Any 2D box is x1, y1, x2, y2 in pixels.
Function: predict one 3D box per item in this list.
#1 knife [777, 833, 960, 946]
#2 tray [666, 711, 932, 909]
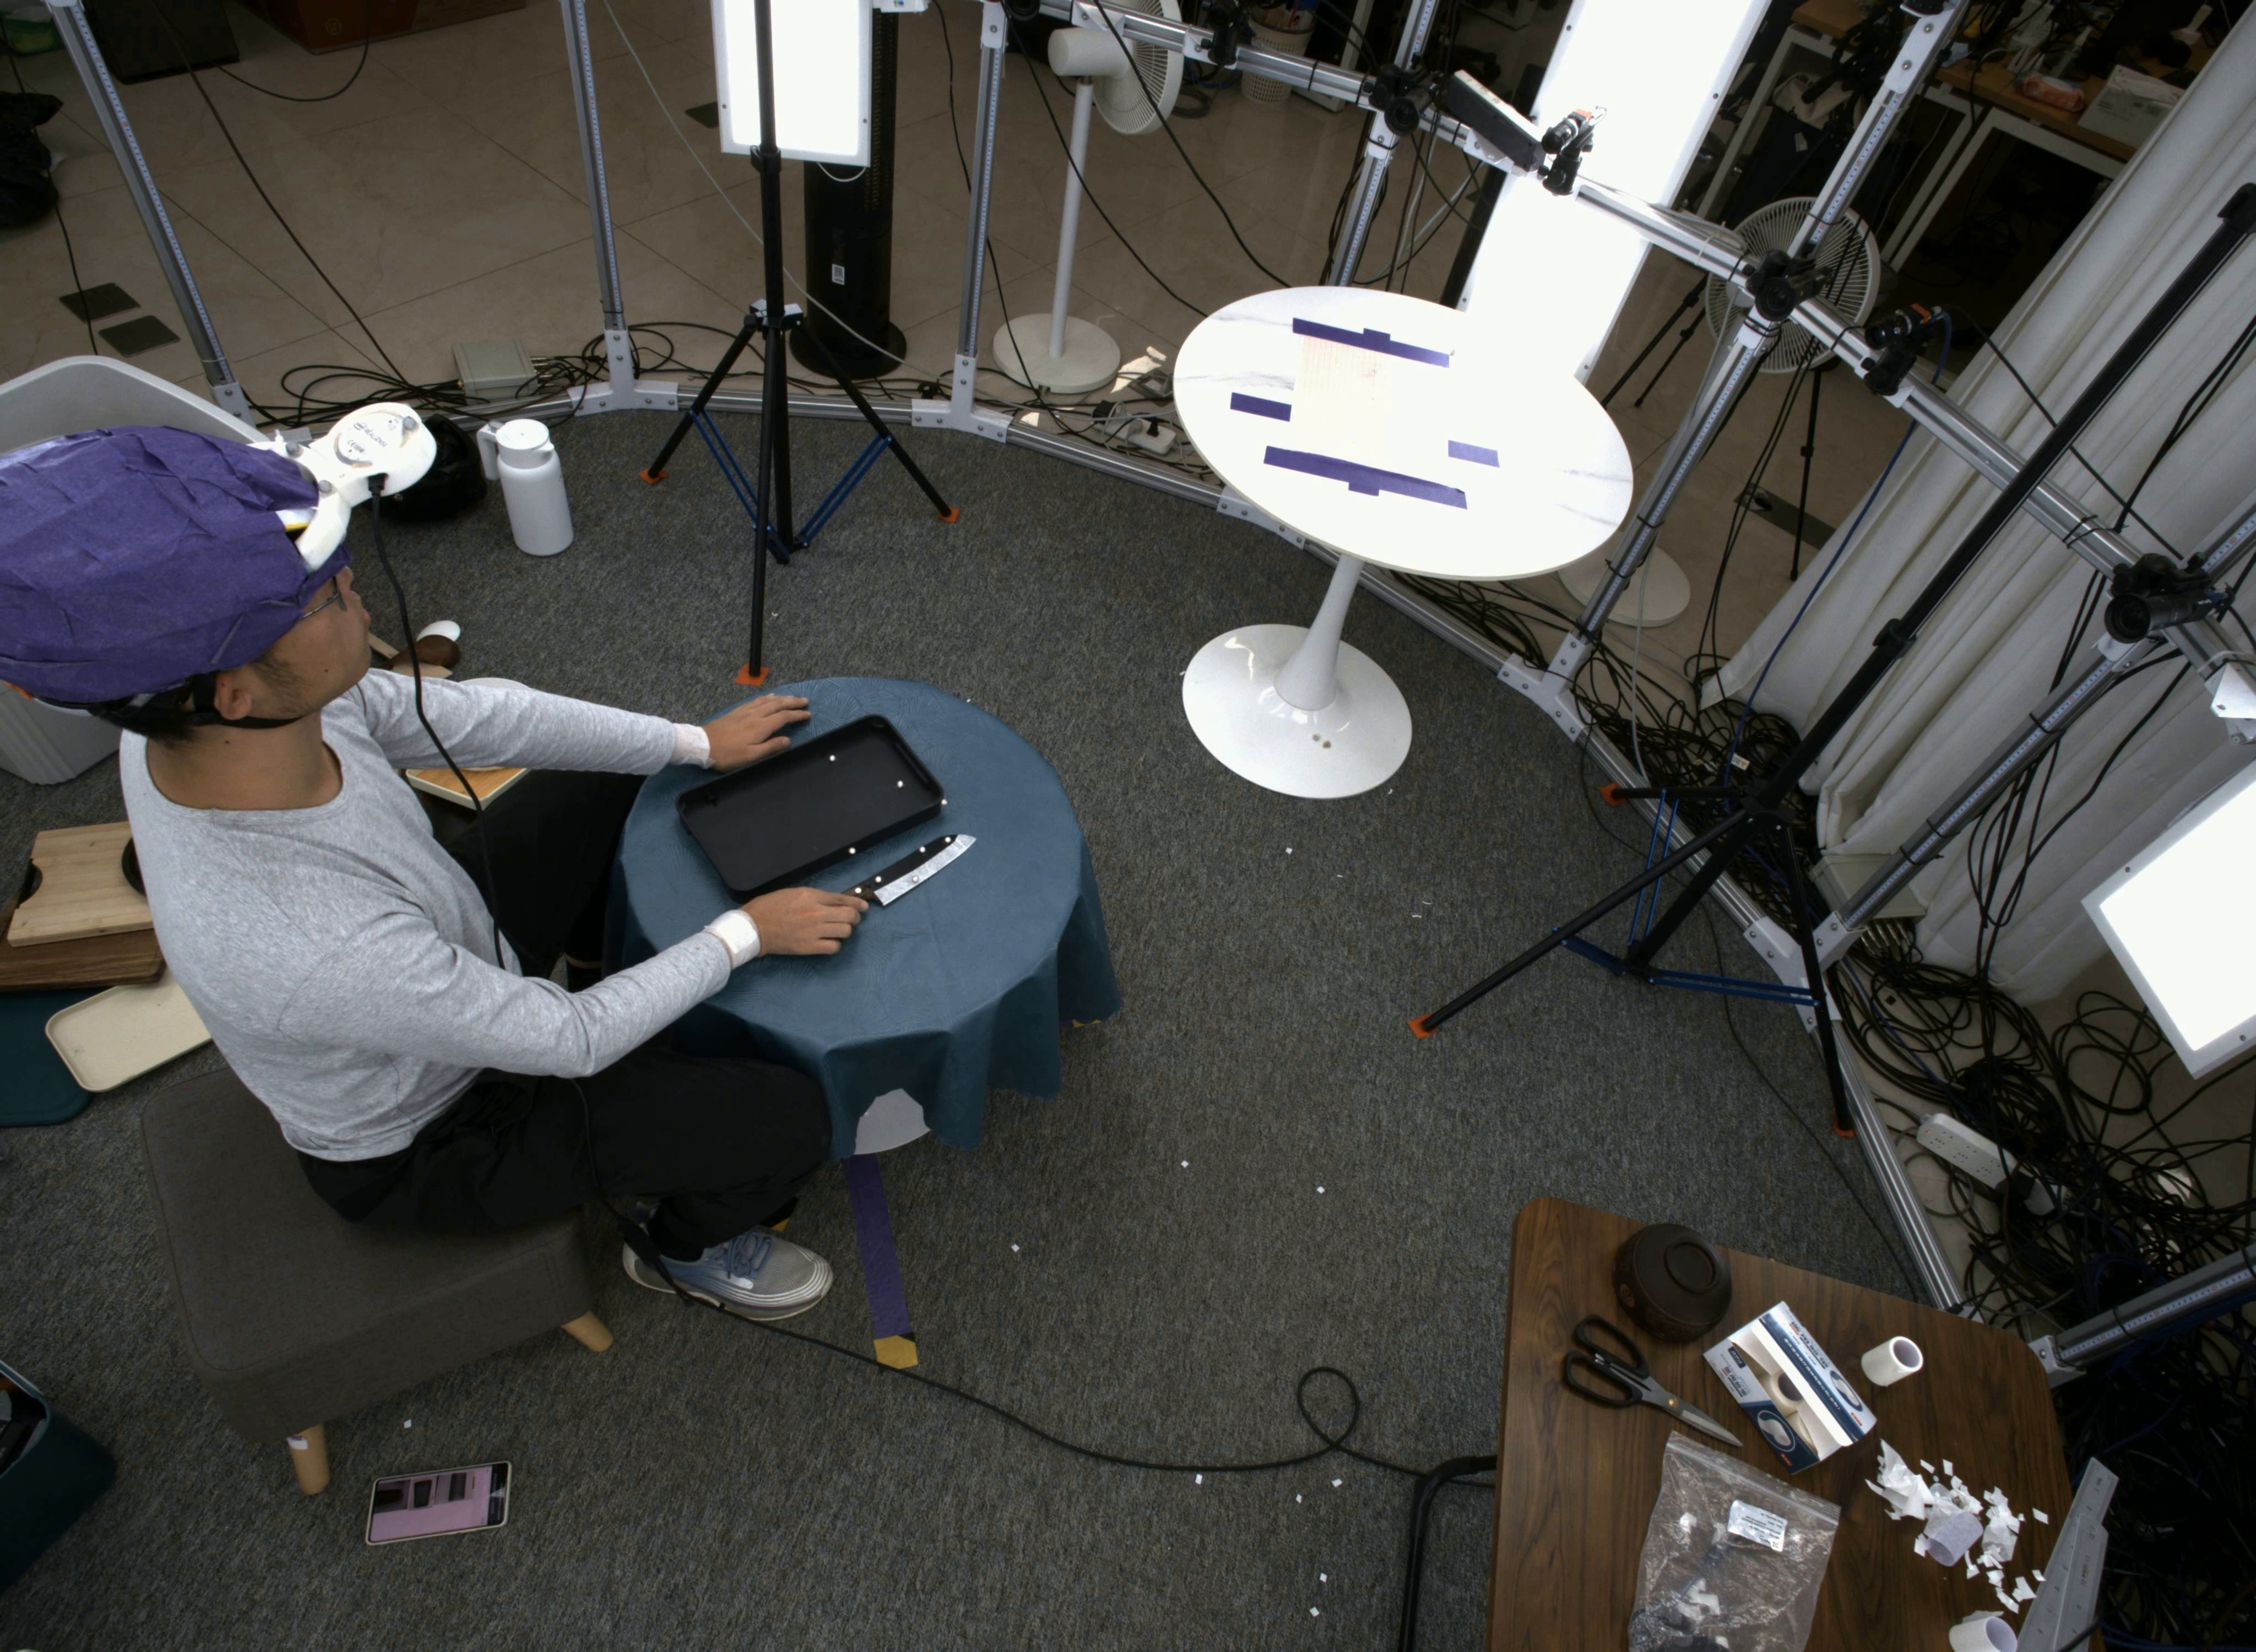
[{"bbox_3d":[-0.332,0.076,1.693,0.290,0.020,0.049,-32,73,-34],"label":"knife"},{"bbox_3d":[-0.435,-0.028,1.730,0.319,0.038,0.180,-31,66,-30],"label":"tray"}]
